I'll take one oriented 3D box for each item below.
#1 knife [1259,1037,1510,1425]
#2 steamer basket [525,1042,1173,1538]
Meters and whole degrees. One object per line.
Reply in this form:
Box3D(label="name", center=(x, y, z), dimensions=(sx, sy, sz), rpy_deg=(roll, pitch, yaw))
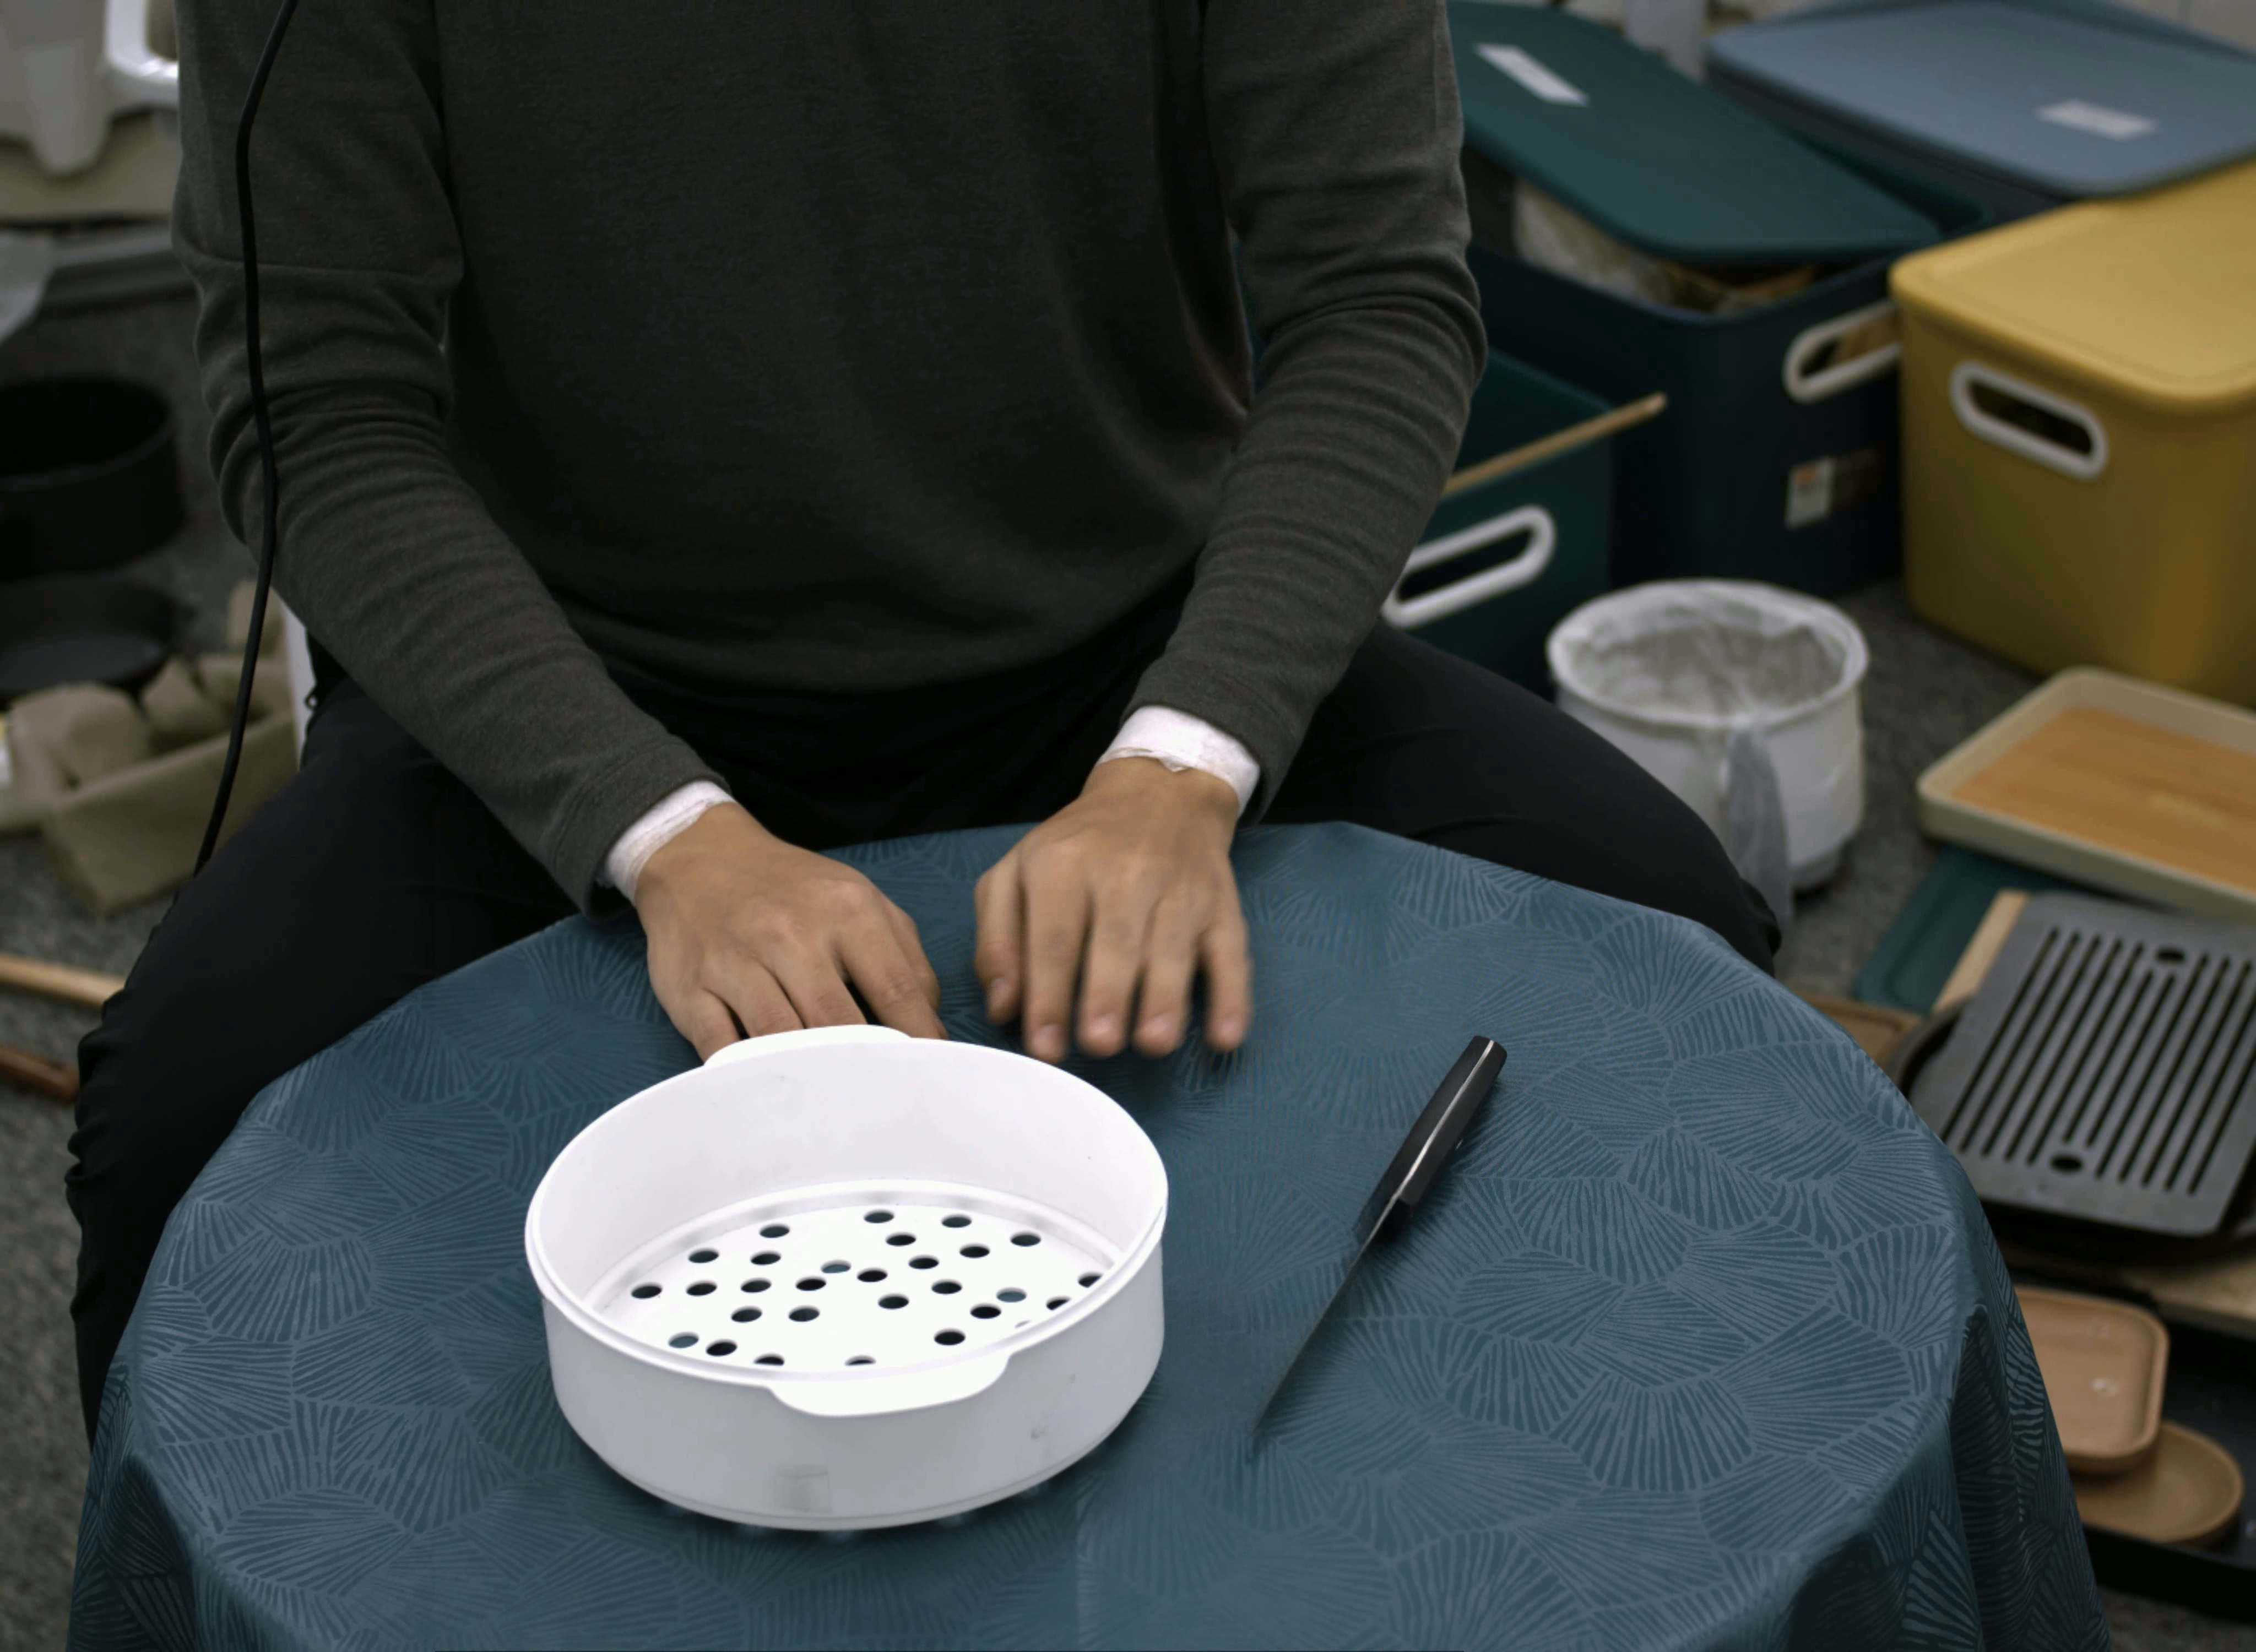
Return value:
Box3D(label="knife", center=(0.081, 0.132, 1.814), dimensions=(0.016, 0.024, 0.242), rpy_deg=(28, 33, 7))
Box3D(label="steamer basket", center=(-0.085, 0.146, 1.751), dimensions=(0.201, 0.068, 0.233), rpy_deg=(-6, 26, -8))
